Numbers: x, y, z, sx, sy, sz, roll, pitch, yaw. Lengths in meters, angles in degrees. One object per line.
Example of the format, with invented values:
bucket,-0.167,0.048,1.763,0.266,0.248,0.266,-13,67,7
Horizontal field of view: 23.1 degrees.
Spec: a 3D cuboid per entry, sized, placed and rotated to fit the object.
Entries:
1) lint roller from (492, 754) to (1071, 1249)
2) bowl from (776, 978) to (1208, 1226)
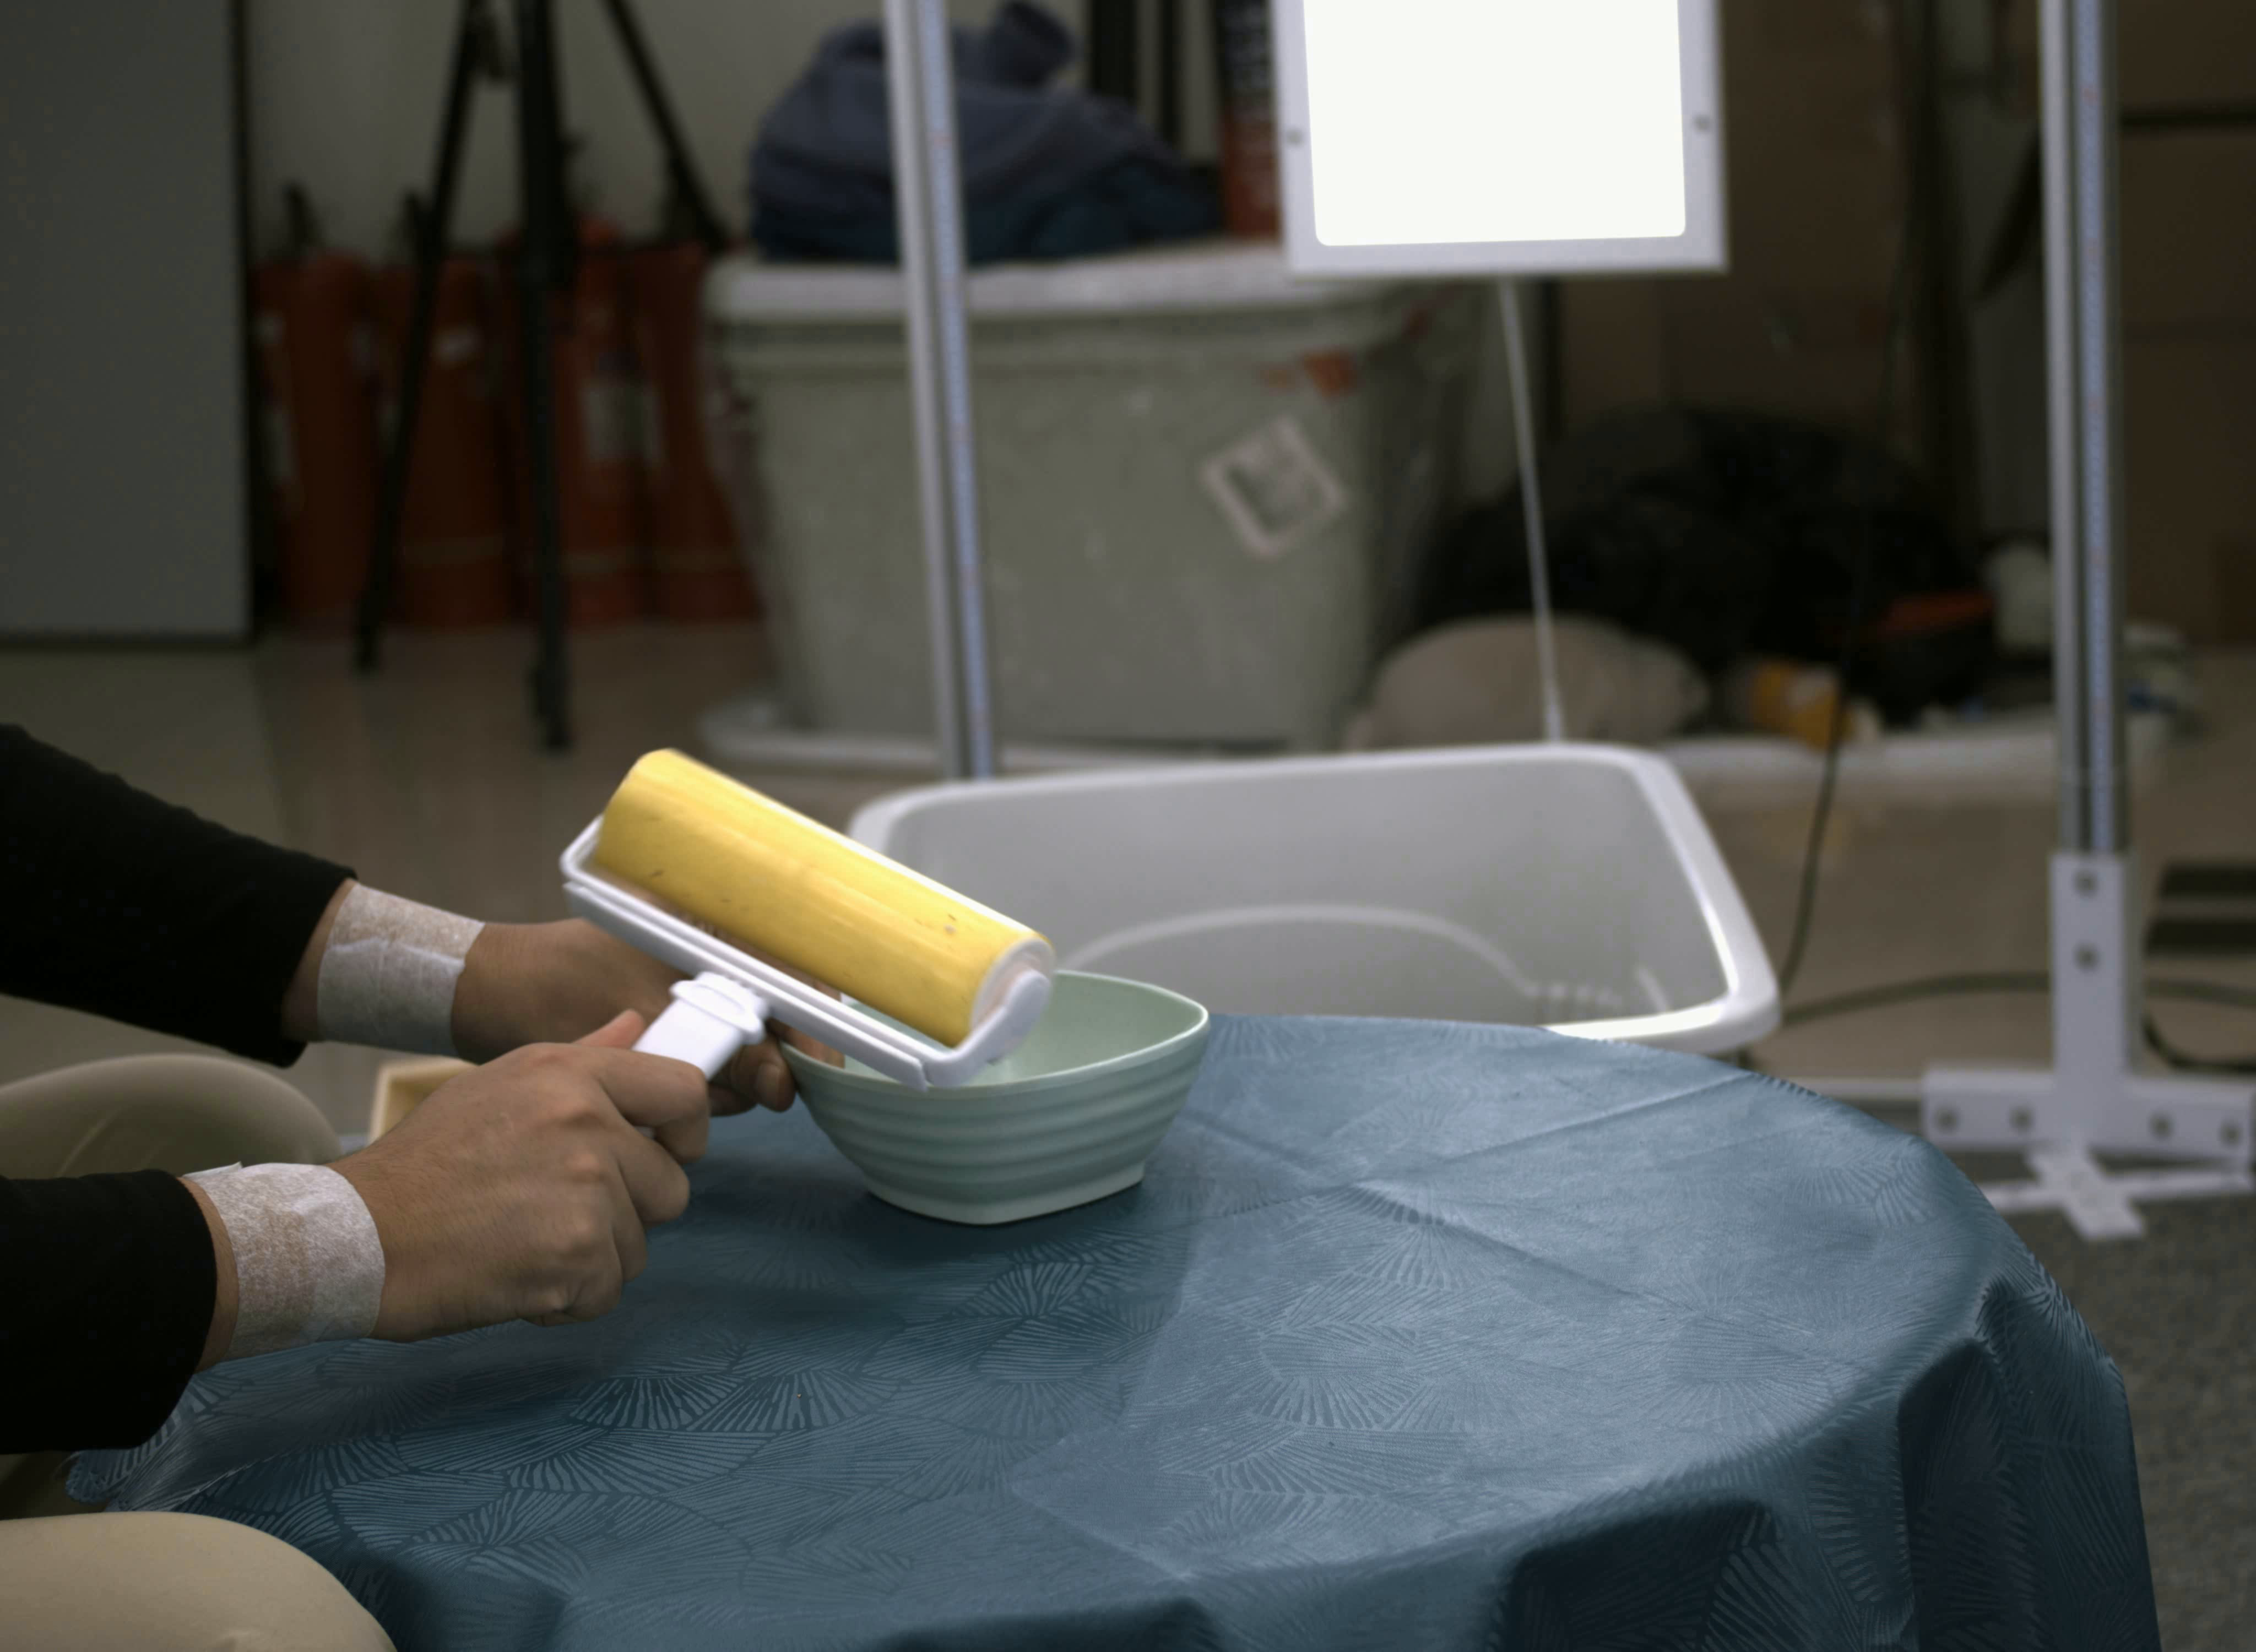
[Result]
lint roller,-0.139,0.066,1.789,0.177,0.052,0.188,25,46,28
bowl,-0.046,0.098,1.911,0.151,0.059,0.151,-3,12,-1
